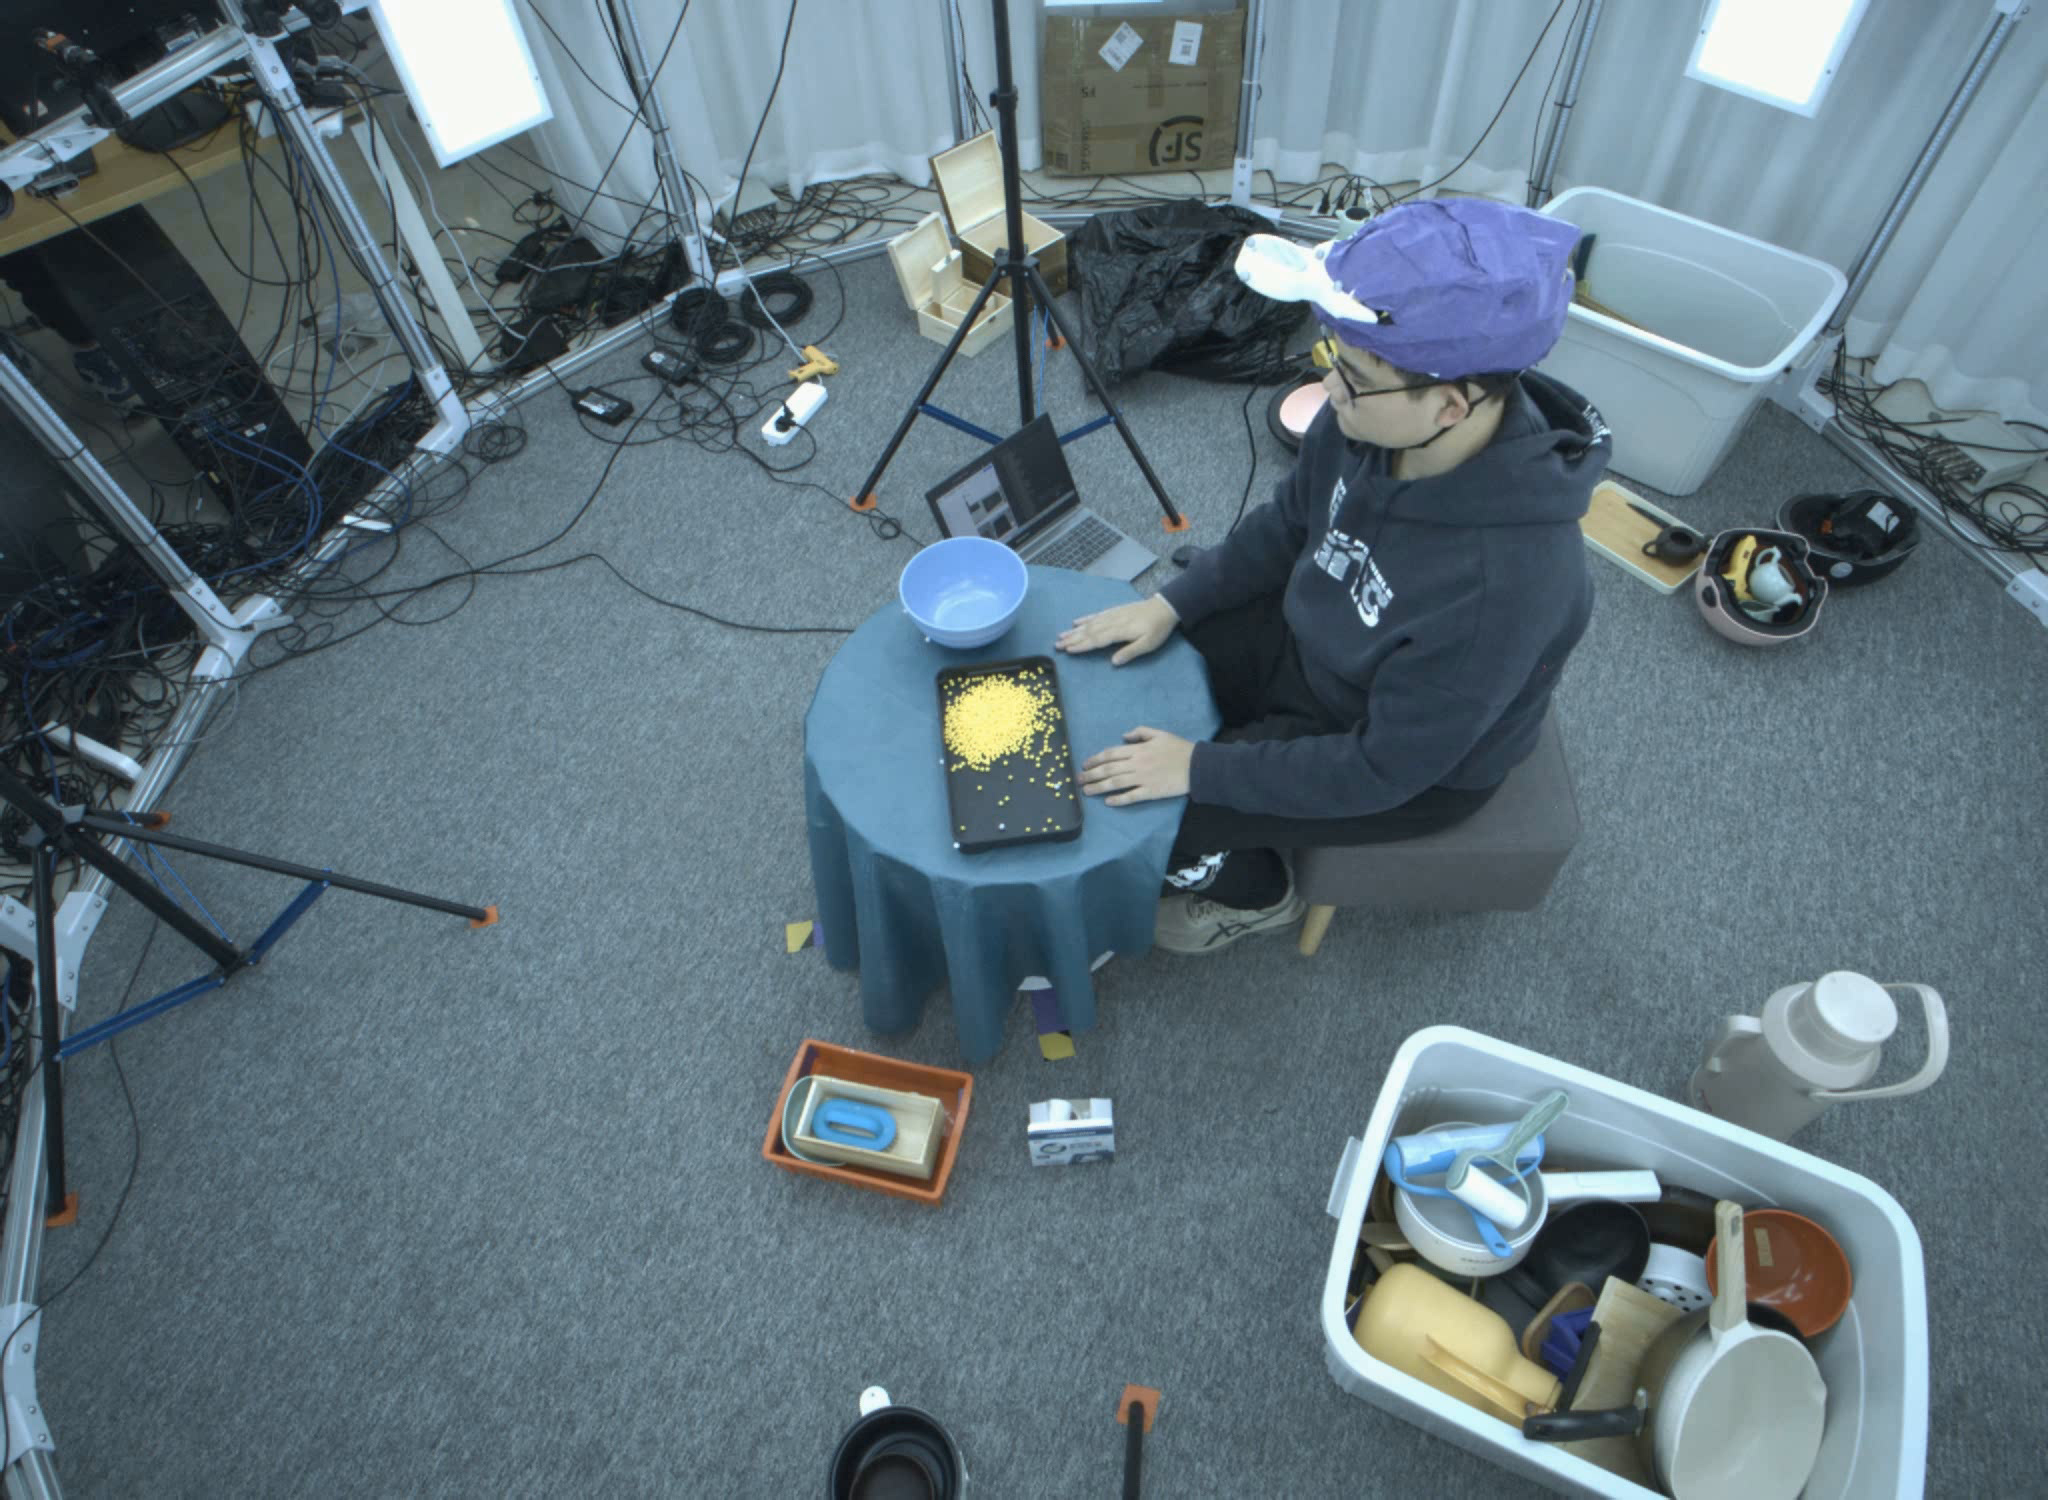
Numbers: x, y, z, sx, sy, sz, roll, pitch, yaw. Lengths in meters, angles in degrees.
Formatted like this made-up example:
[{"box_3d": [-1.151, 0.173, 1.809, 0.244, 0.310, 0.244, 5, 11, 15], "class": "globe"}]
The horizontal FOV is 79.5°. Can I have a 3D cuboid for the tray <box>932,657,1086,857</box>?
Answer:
[{"box_3d": [-0.025, 0.005, 1.765, 0.185, 0.037, 0.313, -8, 54, -5], "class": "tray"}]

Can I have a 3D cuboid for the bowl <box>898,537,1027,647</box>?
[{"box_3d": [-0.091, -0.228, 1.891, 0.196, 0.096, 0.194, -1, 54, 2], "class": "bowl"}]
